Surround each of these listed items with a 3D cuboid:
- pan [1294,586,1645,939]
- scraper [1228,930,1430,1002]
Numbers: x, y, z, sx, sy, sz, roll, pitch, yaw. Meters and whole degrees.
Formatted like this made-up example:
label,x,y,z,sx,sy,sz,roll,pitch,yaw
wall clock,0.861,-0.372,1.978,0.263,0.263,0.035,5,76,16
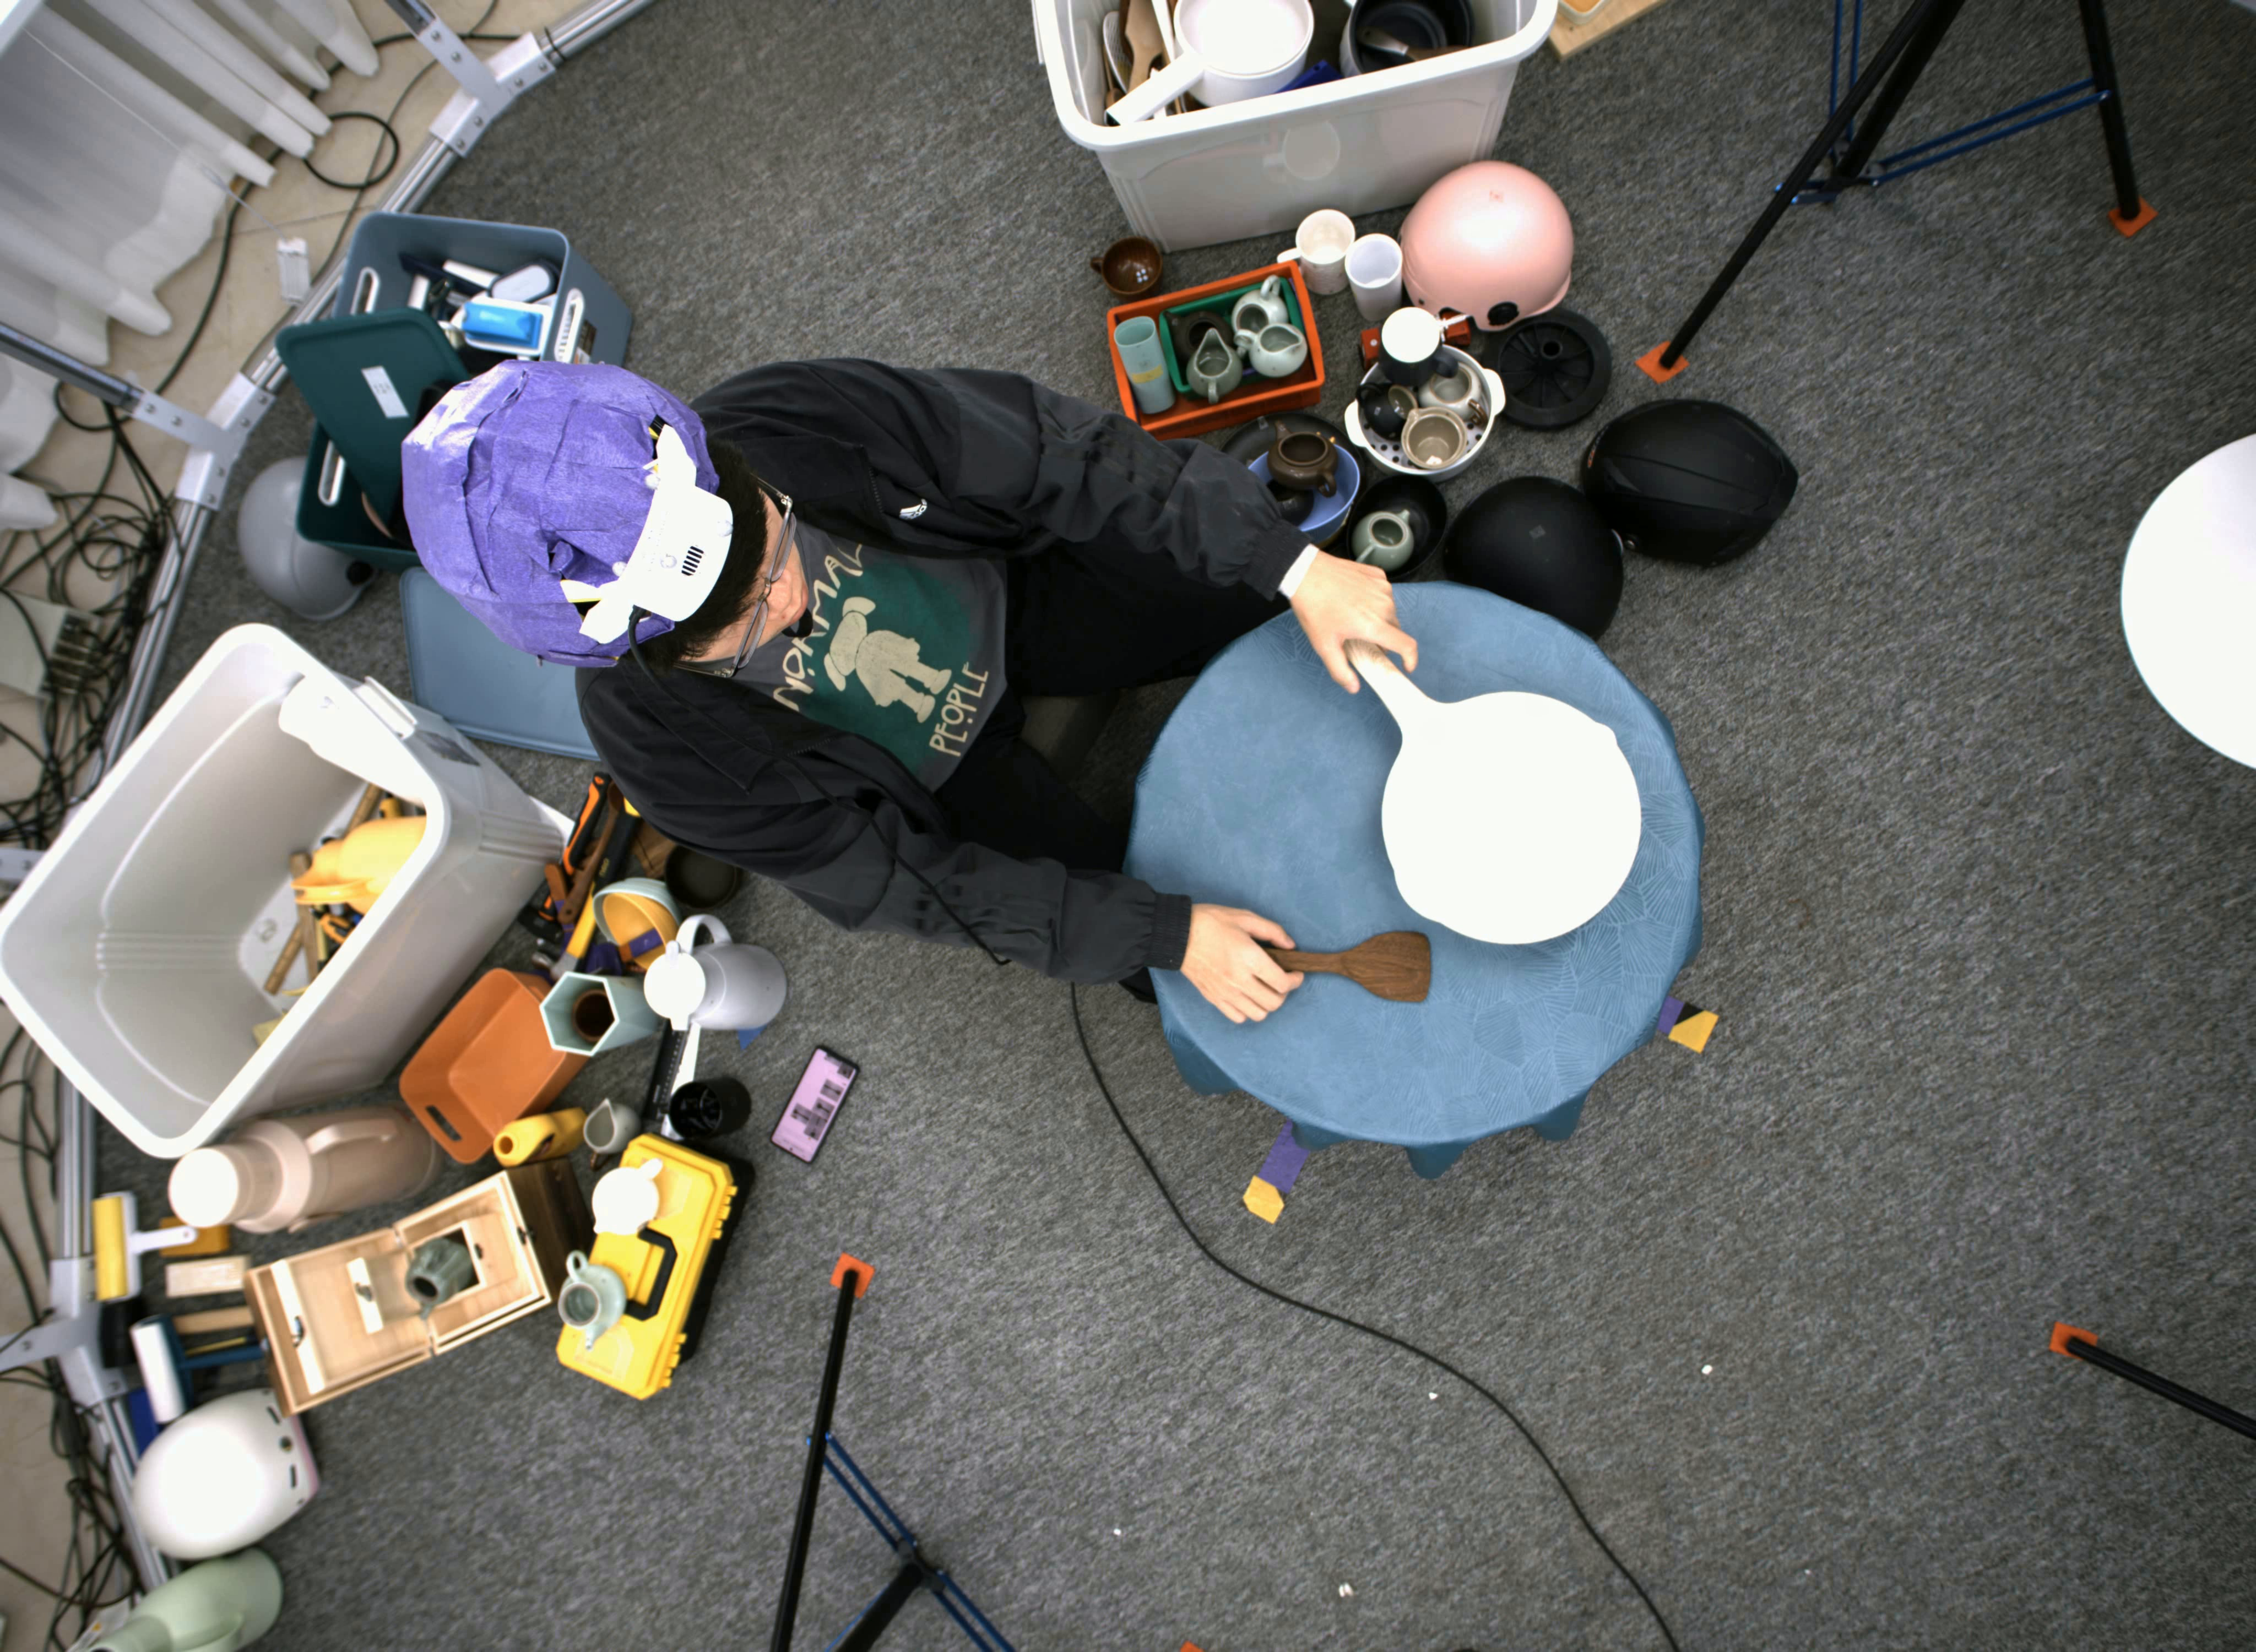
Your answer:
label,x,y,z,sx,sy,sz,roll,pitch,yaw
pan,0.328,-0.080,1.405,0.265,0.102,0.432,-43,80,7
scraper,0.210,0.142,1.454,0.212,0.011,0.075,2,86,5
